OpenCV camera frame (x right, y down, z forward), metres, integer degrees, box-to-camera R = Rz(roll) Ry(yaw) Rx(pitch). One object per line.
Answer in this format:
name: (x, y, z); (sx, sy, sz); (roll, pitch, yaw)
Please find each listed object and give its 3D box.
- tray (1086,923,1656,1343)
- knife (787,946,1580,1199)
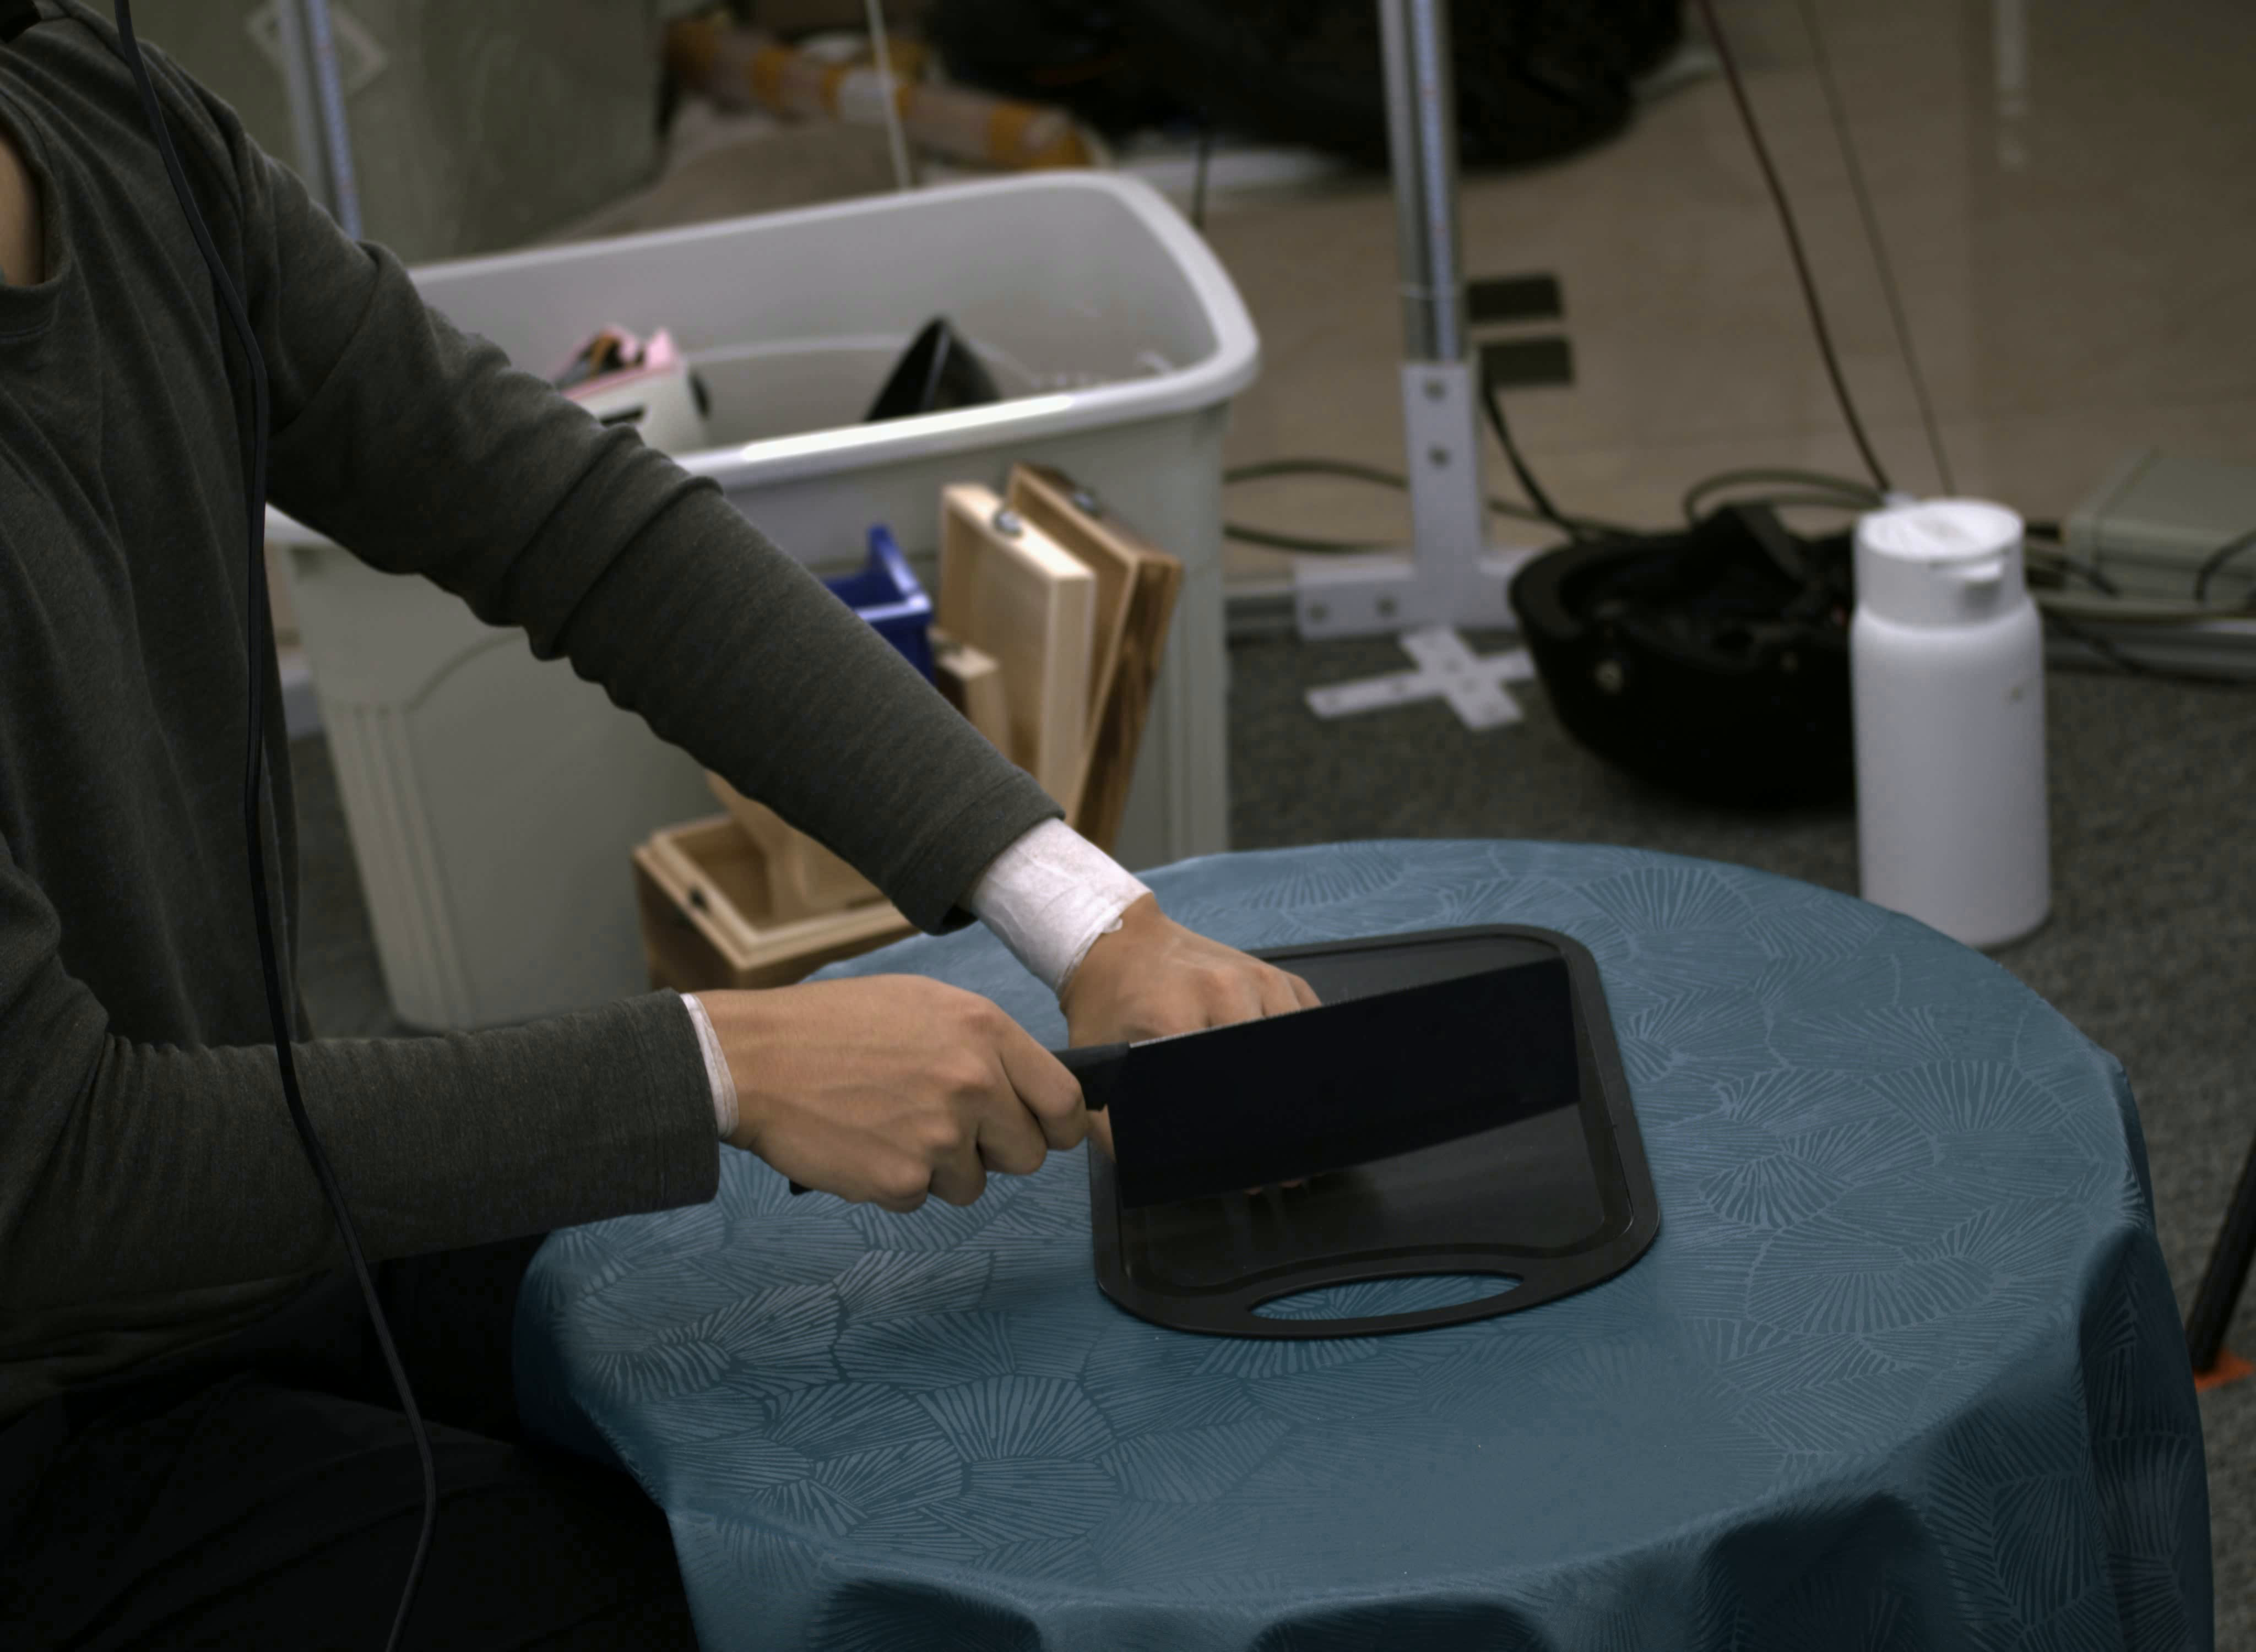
tray: (0.089, 0.113, 2.178); (0.211, 0.010, 0.320); (-6, 25, 2)
knife: (0.022, 0.100, 2.100); (0.301, 0.082, 0.020); (-7, 19, -11)
